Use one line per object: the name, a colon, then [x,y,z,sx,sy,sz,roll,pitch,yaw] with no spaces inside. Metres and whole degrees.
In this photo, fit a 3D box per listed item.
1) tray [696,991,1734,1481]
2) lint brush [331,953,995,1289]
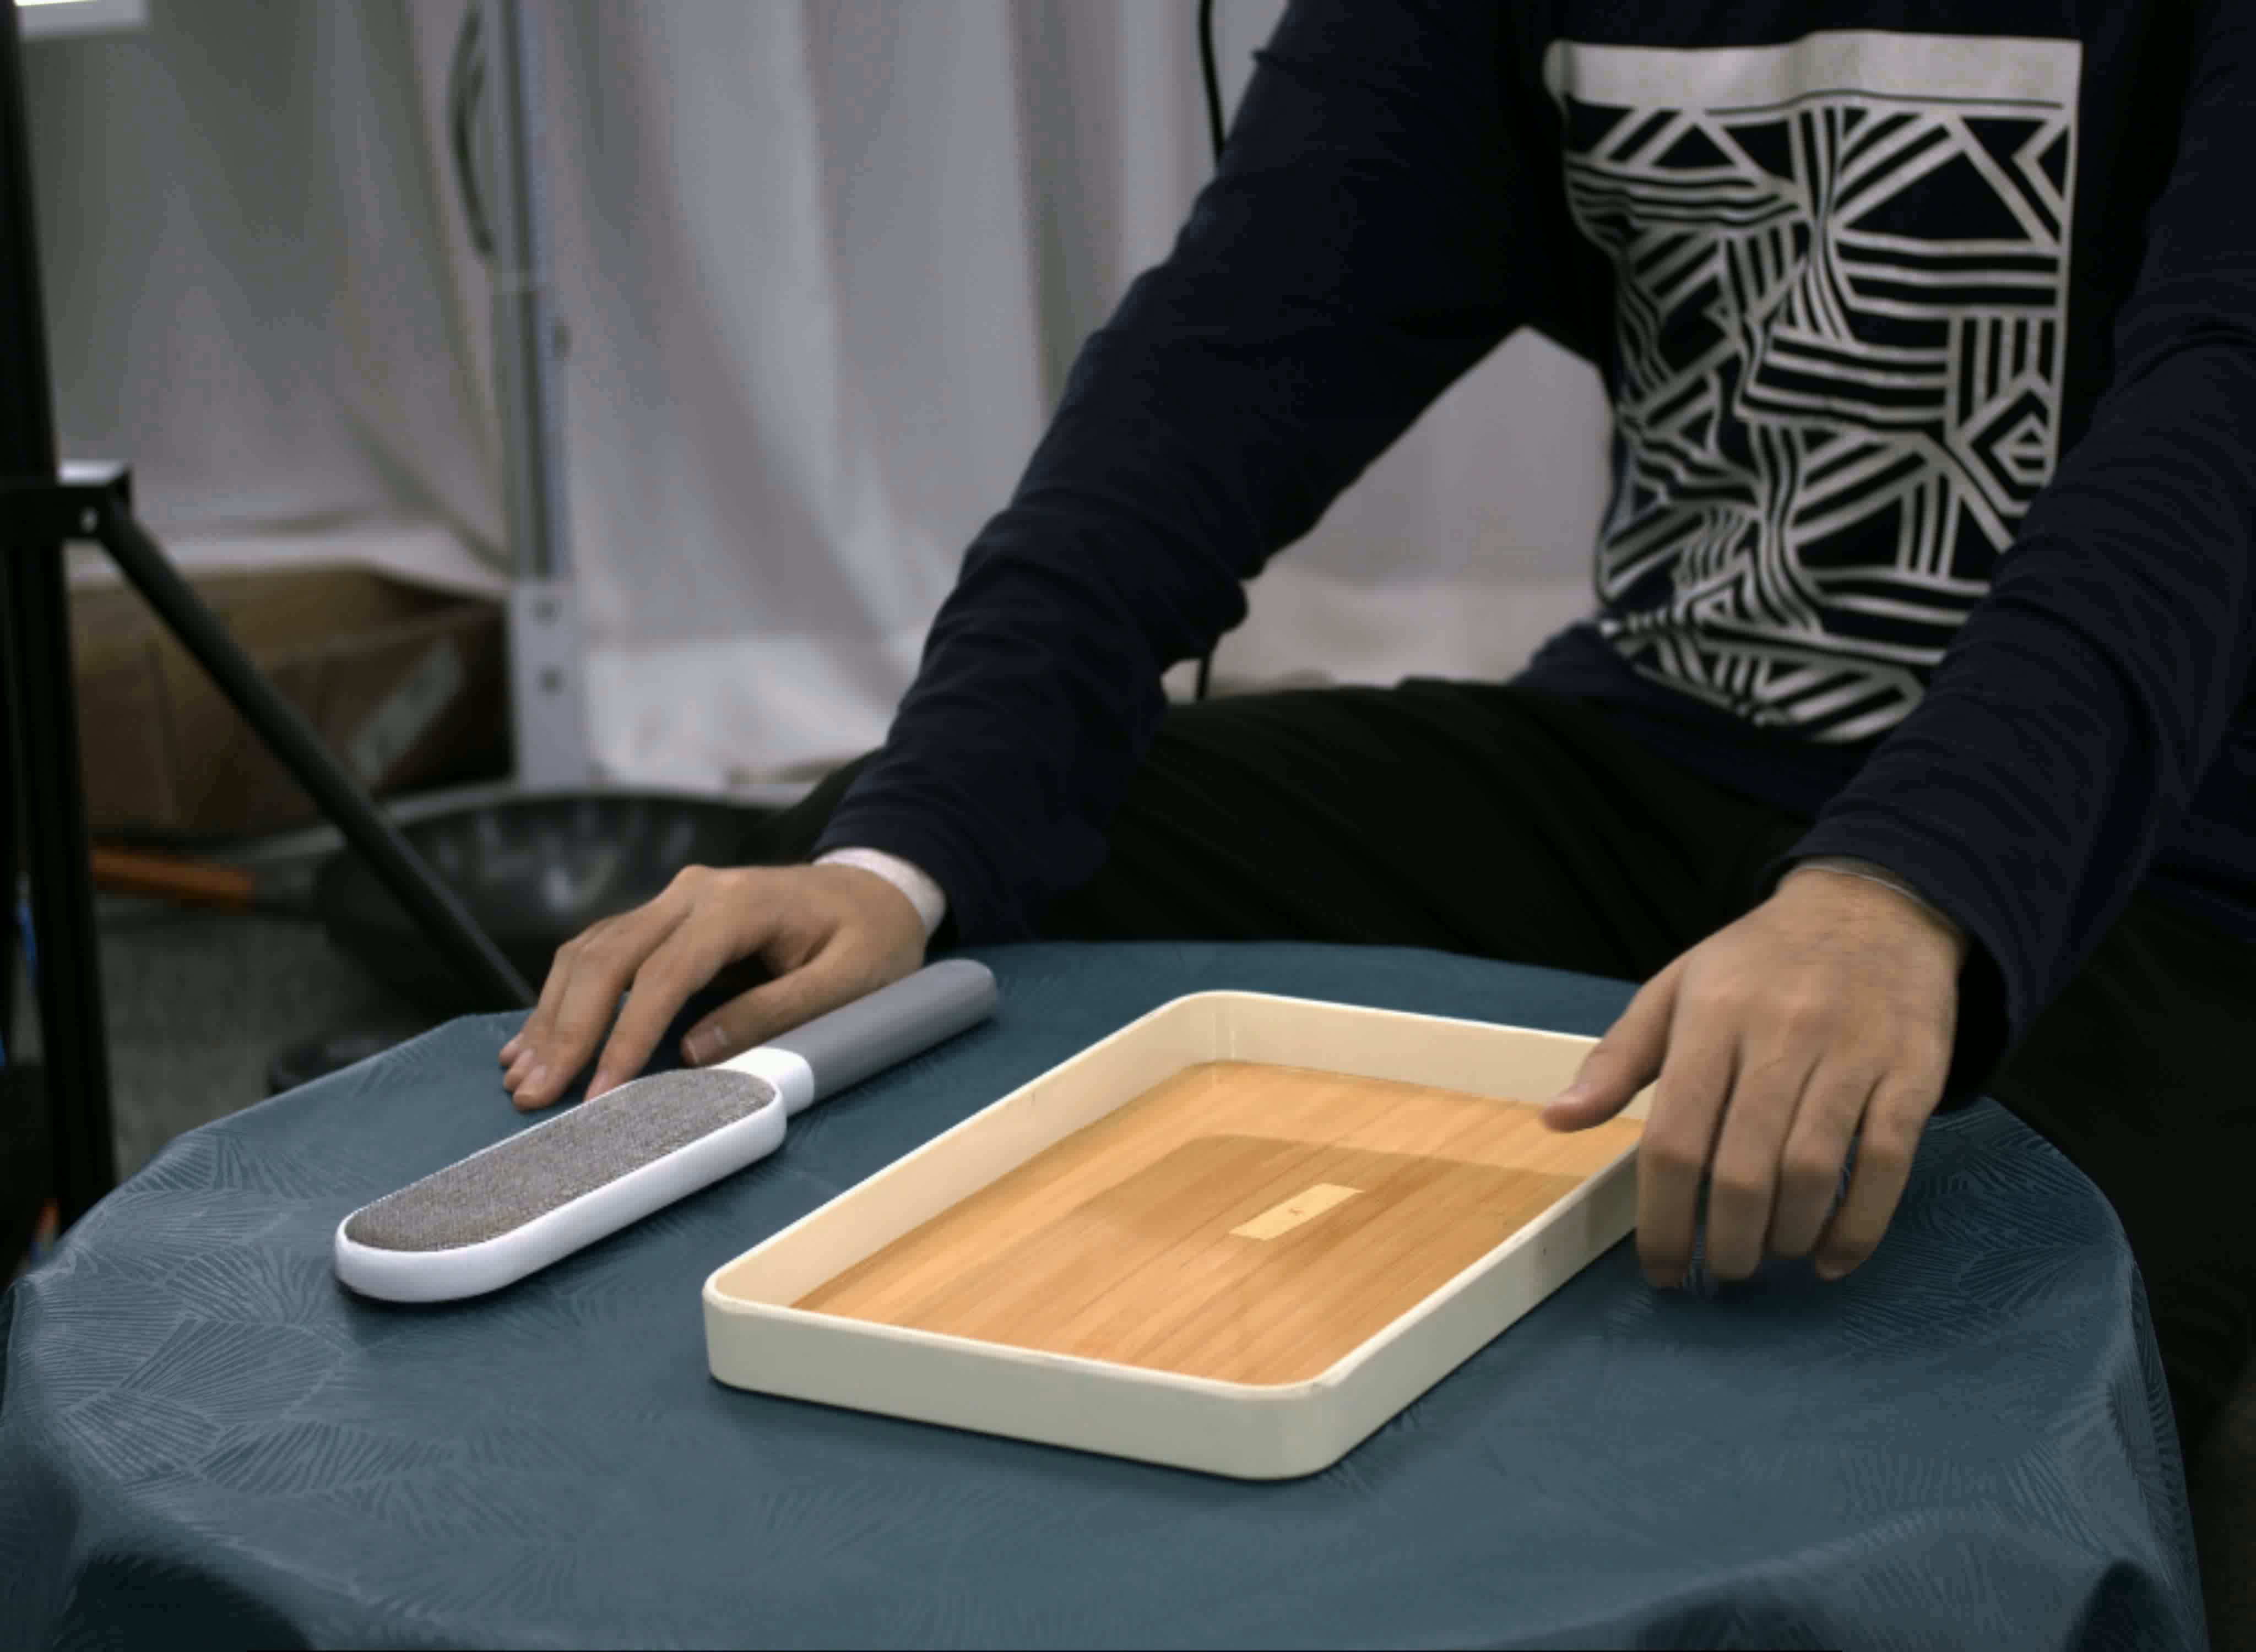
tray: [0.032,0.110,1.502,0.195,0.027,0.295,7,18,29]
lint brush: [-0.130,0.086,1.611,0.061,0.021,0.303,1,15,34]
